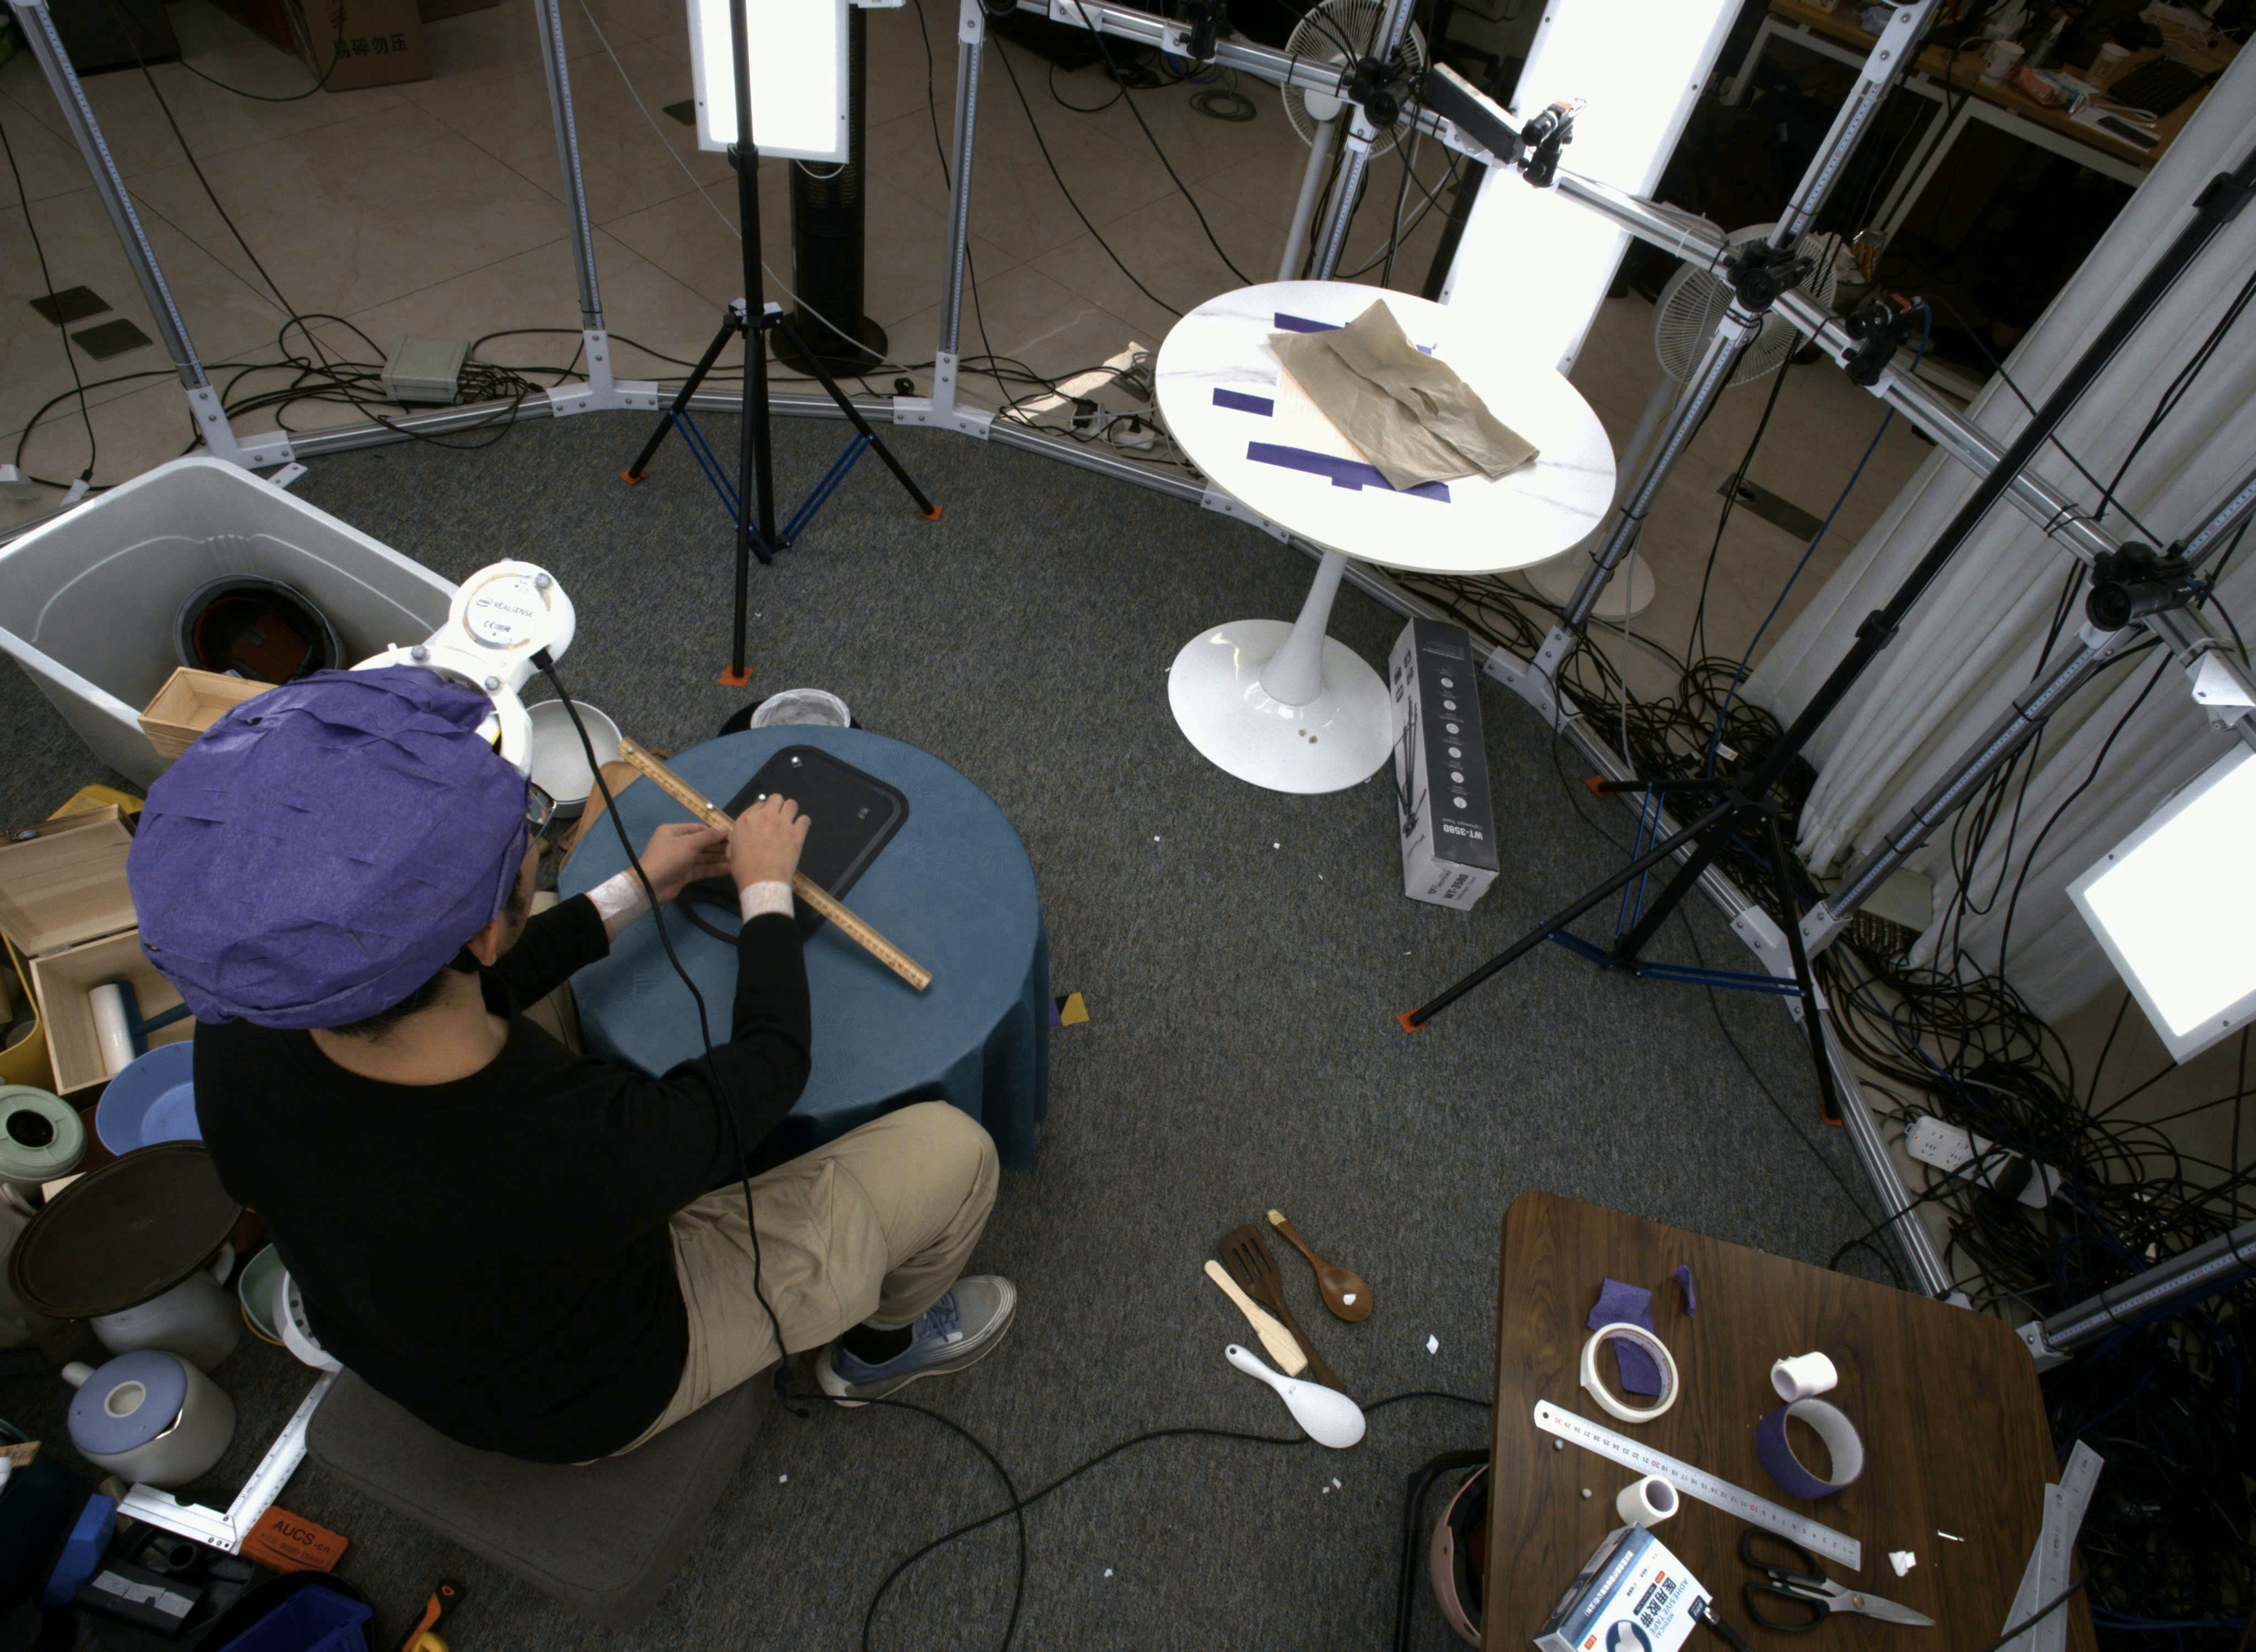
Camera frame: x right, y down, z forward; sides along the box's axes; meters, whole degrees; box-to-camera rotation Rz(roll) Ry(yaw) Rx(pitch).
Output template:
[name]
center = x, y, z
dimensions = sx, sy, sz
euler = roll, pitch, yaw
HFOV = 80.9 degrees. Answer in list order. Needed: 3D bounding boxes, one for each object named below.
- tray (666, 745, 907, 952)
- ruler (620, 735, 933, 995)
[tray]
center = -0.445, 0.025, 1.689
dimensions = 0.208, 0.010, 0.324
euler = 28, 52, 7
[ruler]
center = -0.443, 0.045, 1.607
dimensions = 0.498, 0.006, 0.027
euler = 38, 67, 2
